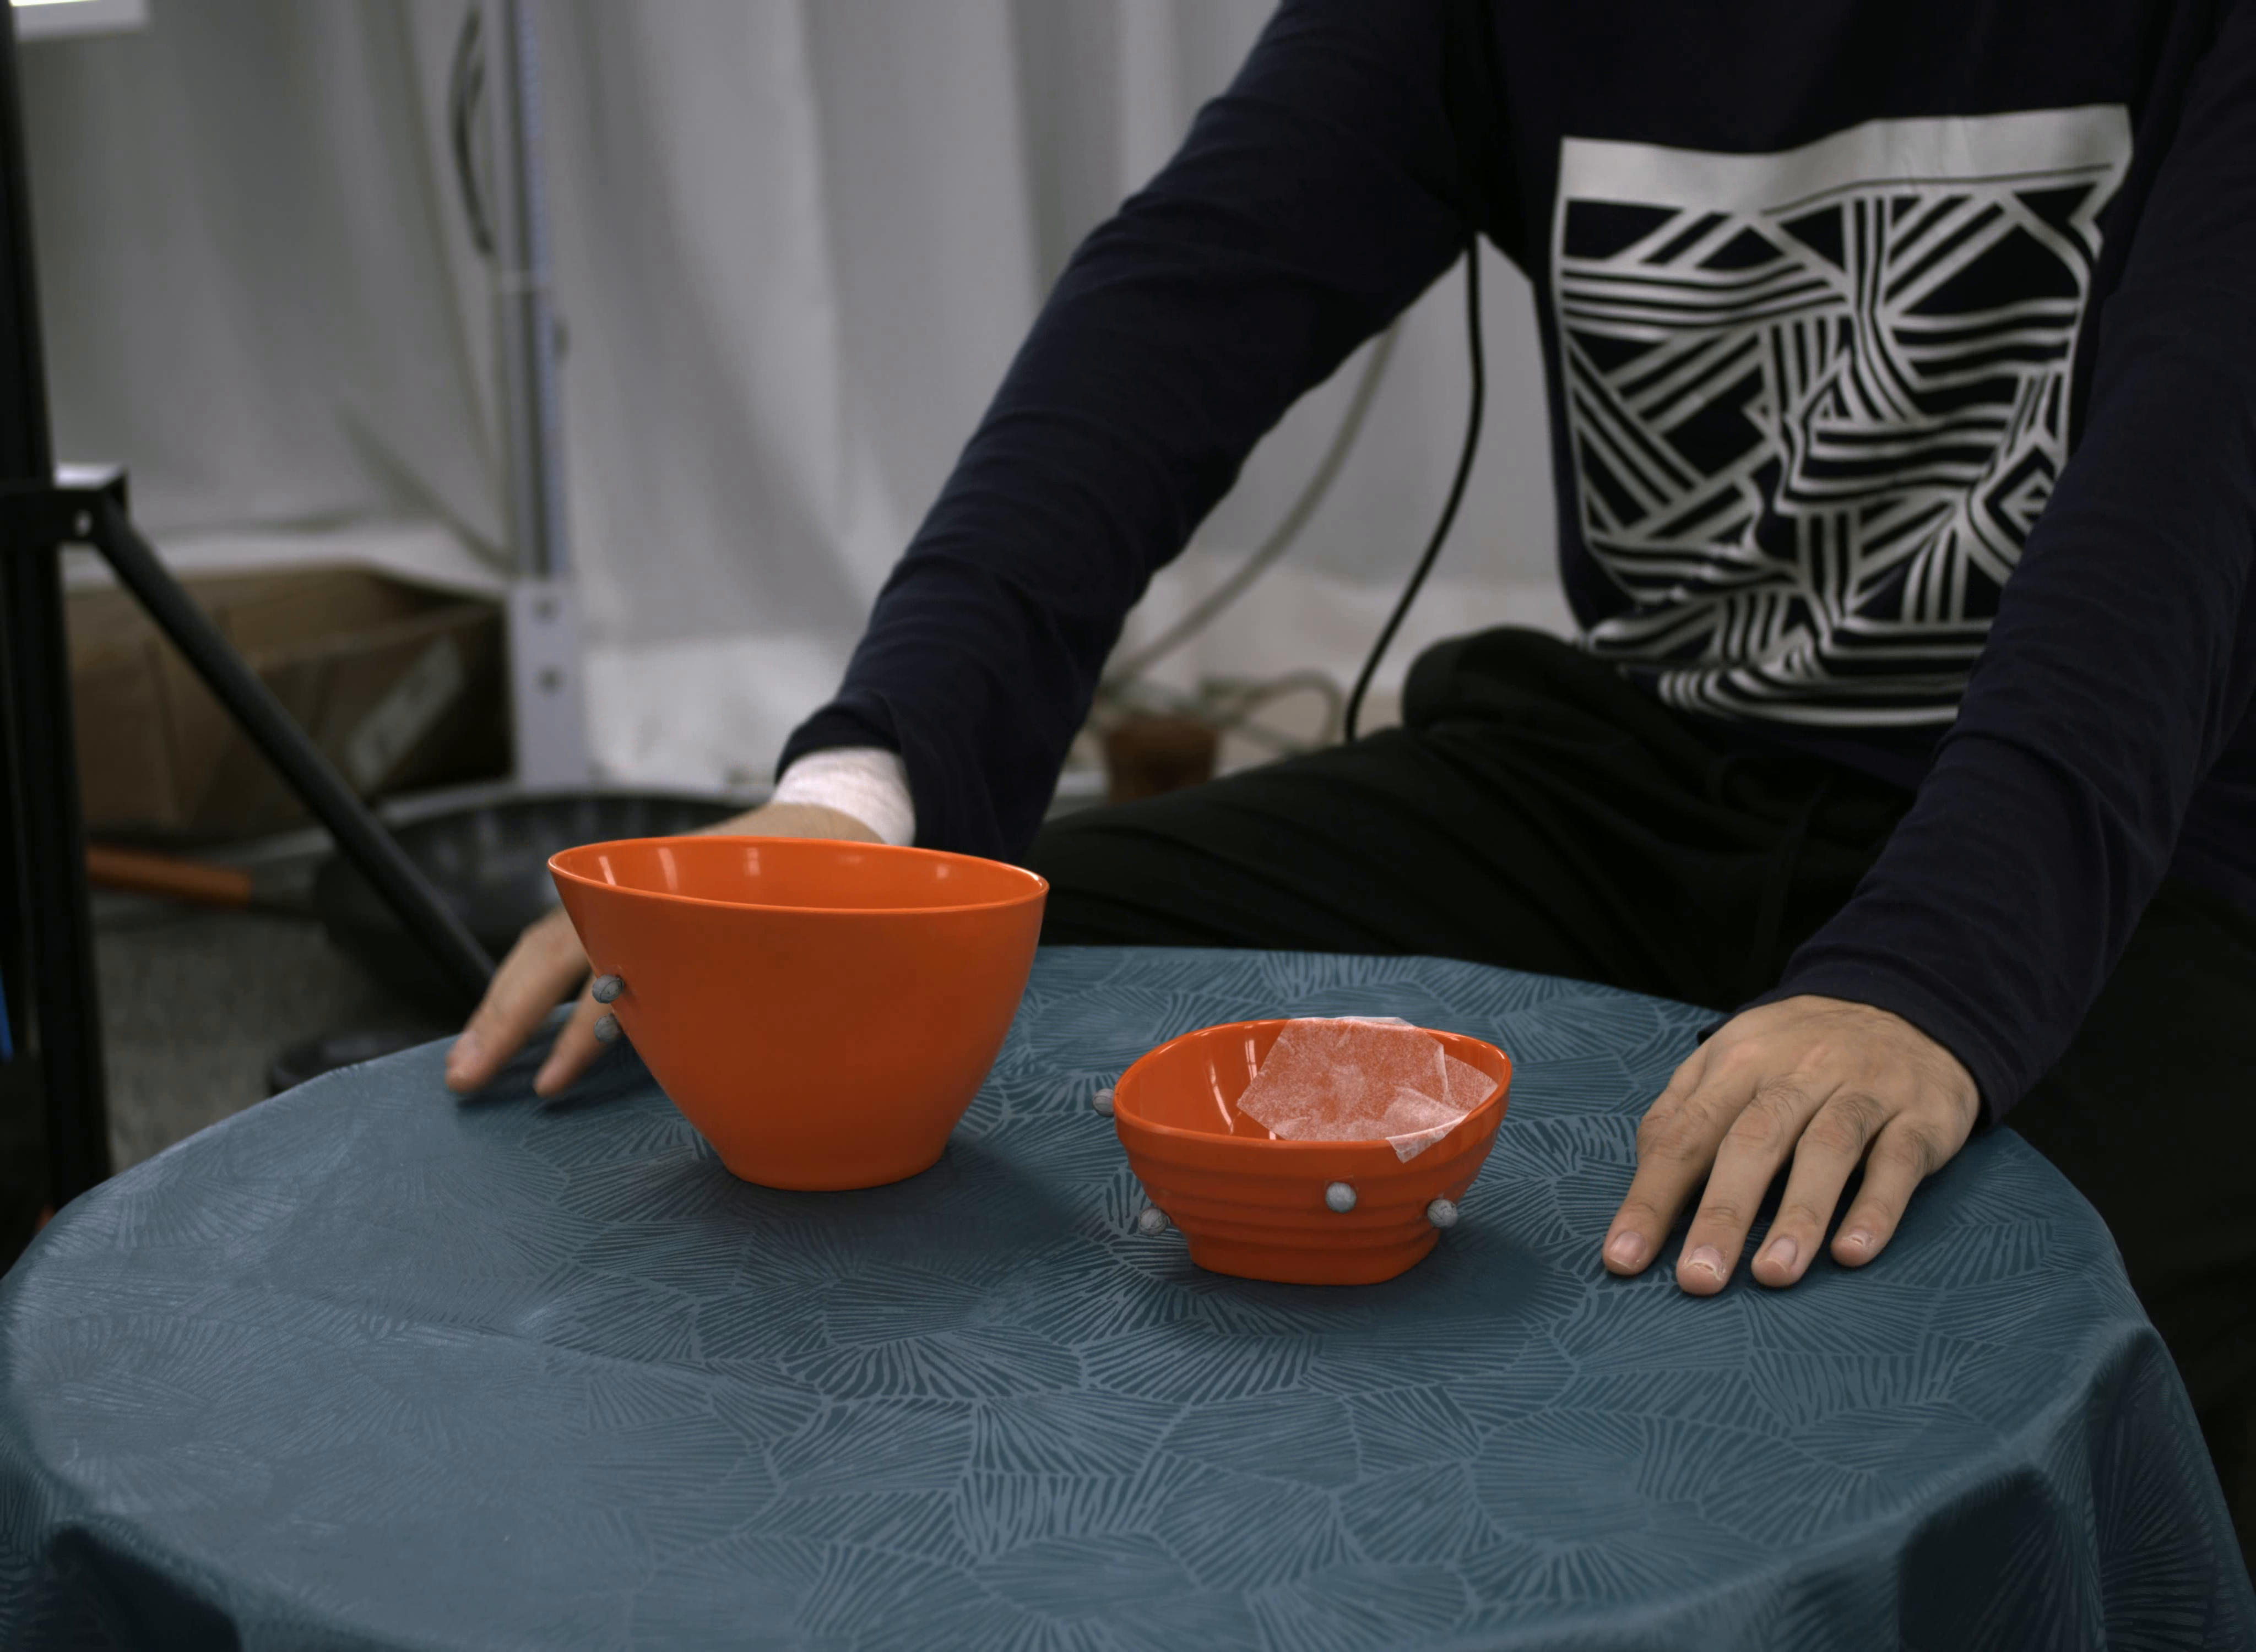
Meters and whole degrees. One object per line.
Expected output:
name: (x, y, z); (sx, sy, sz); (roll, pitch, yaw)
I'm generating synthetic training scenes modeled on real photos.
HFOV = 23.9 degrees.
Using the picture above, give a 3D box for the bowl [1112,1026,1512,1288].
bowl: (0.054, 0.096, 1.507); (0.118, 0.051, 0.119); (-3, 14, -1)

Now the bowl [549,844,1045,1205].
bowl: (-0.098, 0.056, 1.585); (0.147, 0.105, 0.149); (0, 14, -1)
